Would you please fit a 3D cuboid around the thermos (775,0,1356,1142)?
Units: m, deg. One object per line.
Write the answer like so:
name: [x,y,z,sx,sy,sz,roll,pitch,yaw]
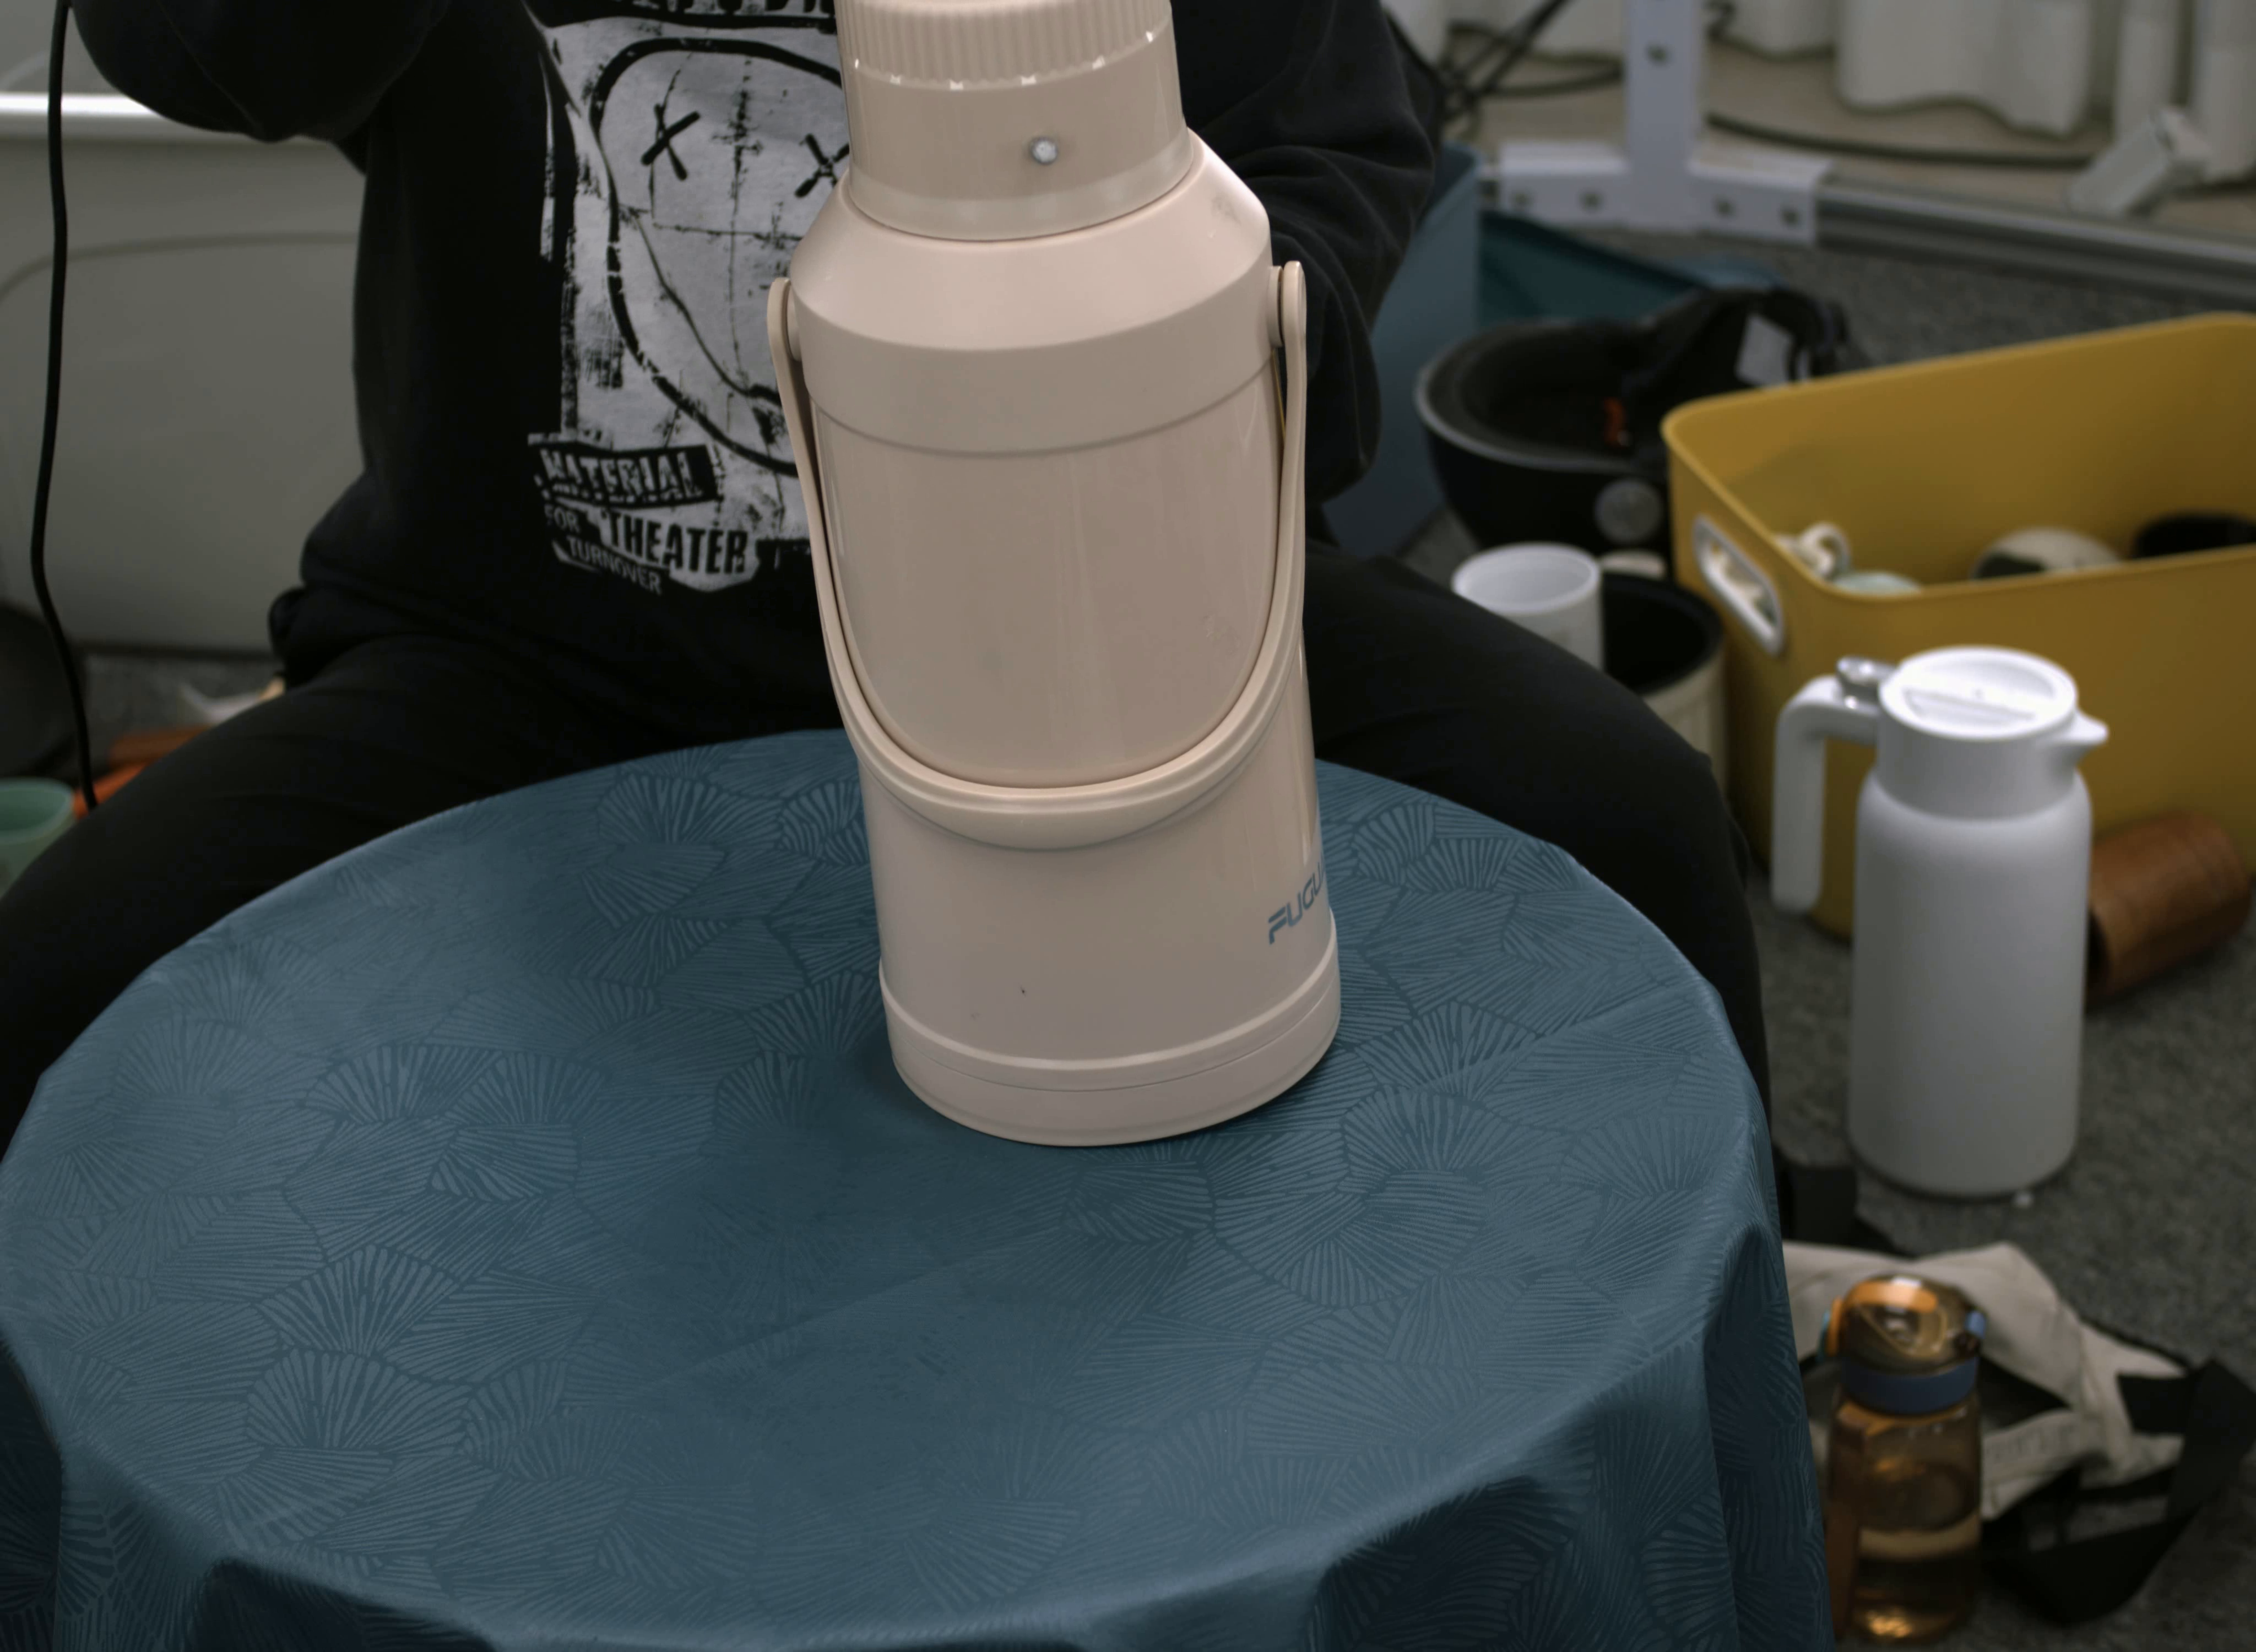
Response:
thermos: [-0.017,-0.111,1.878,0.174,0.402,0.210,-3,28,9]
